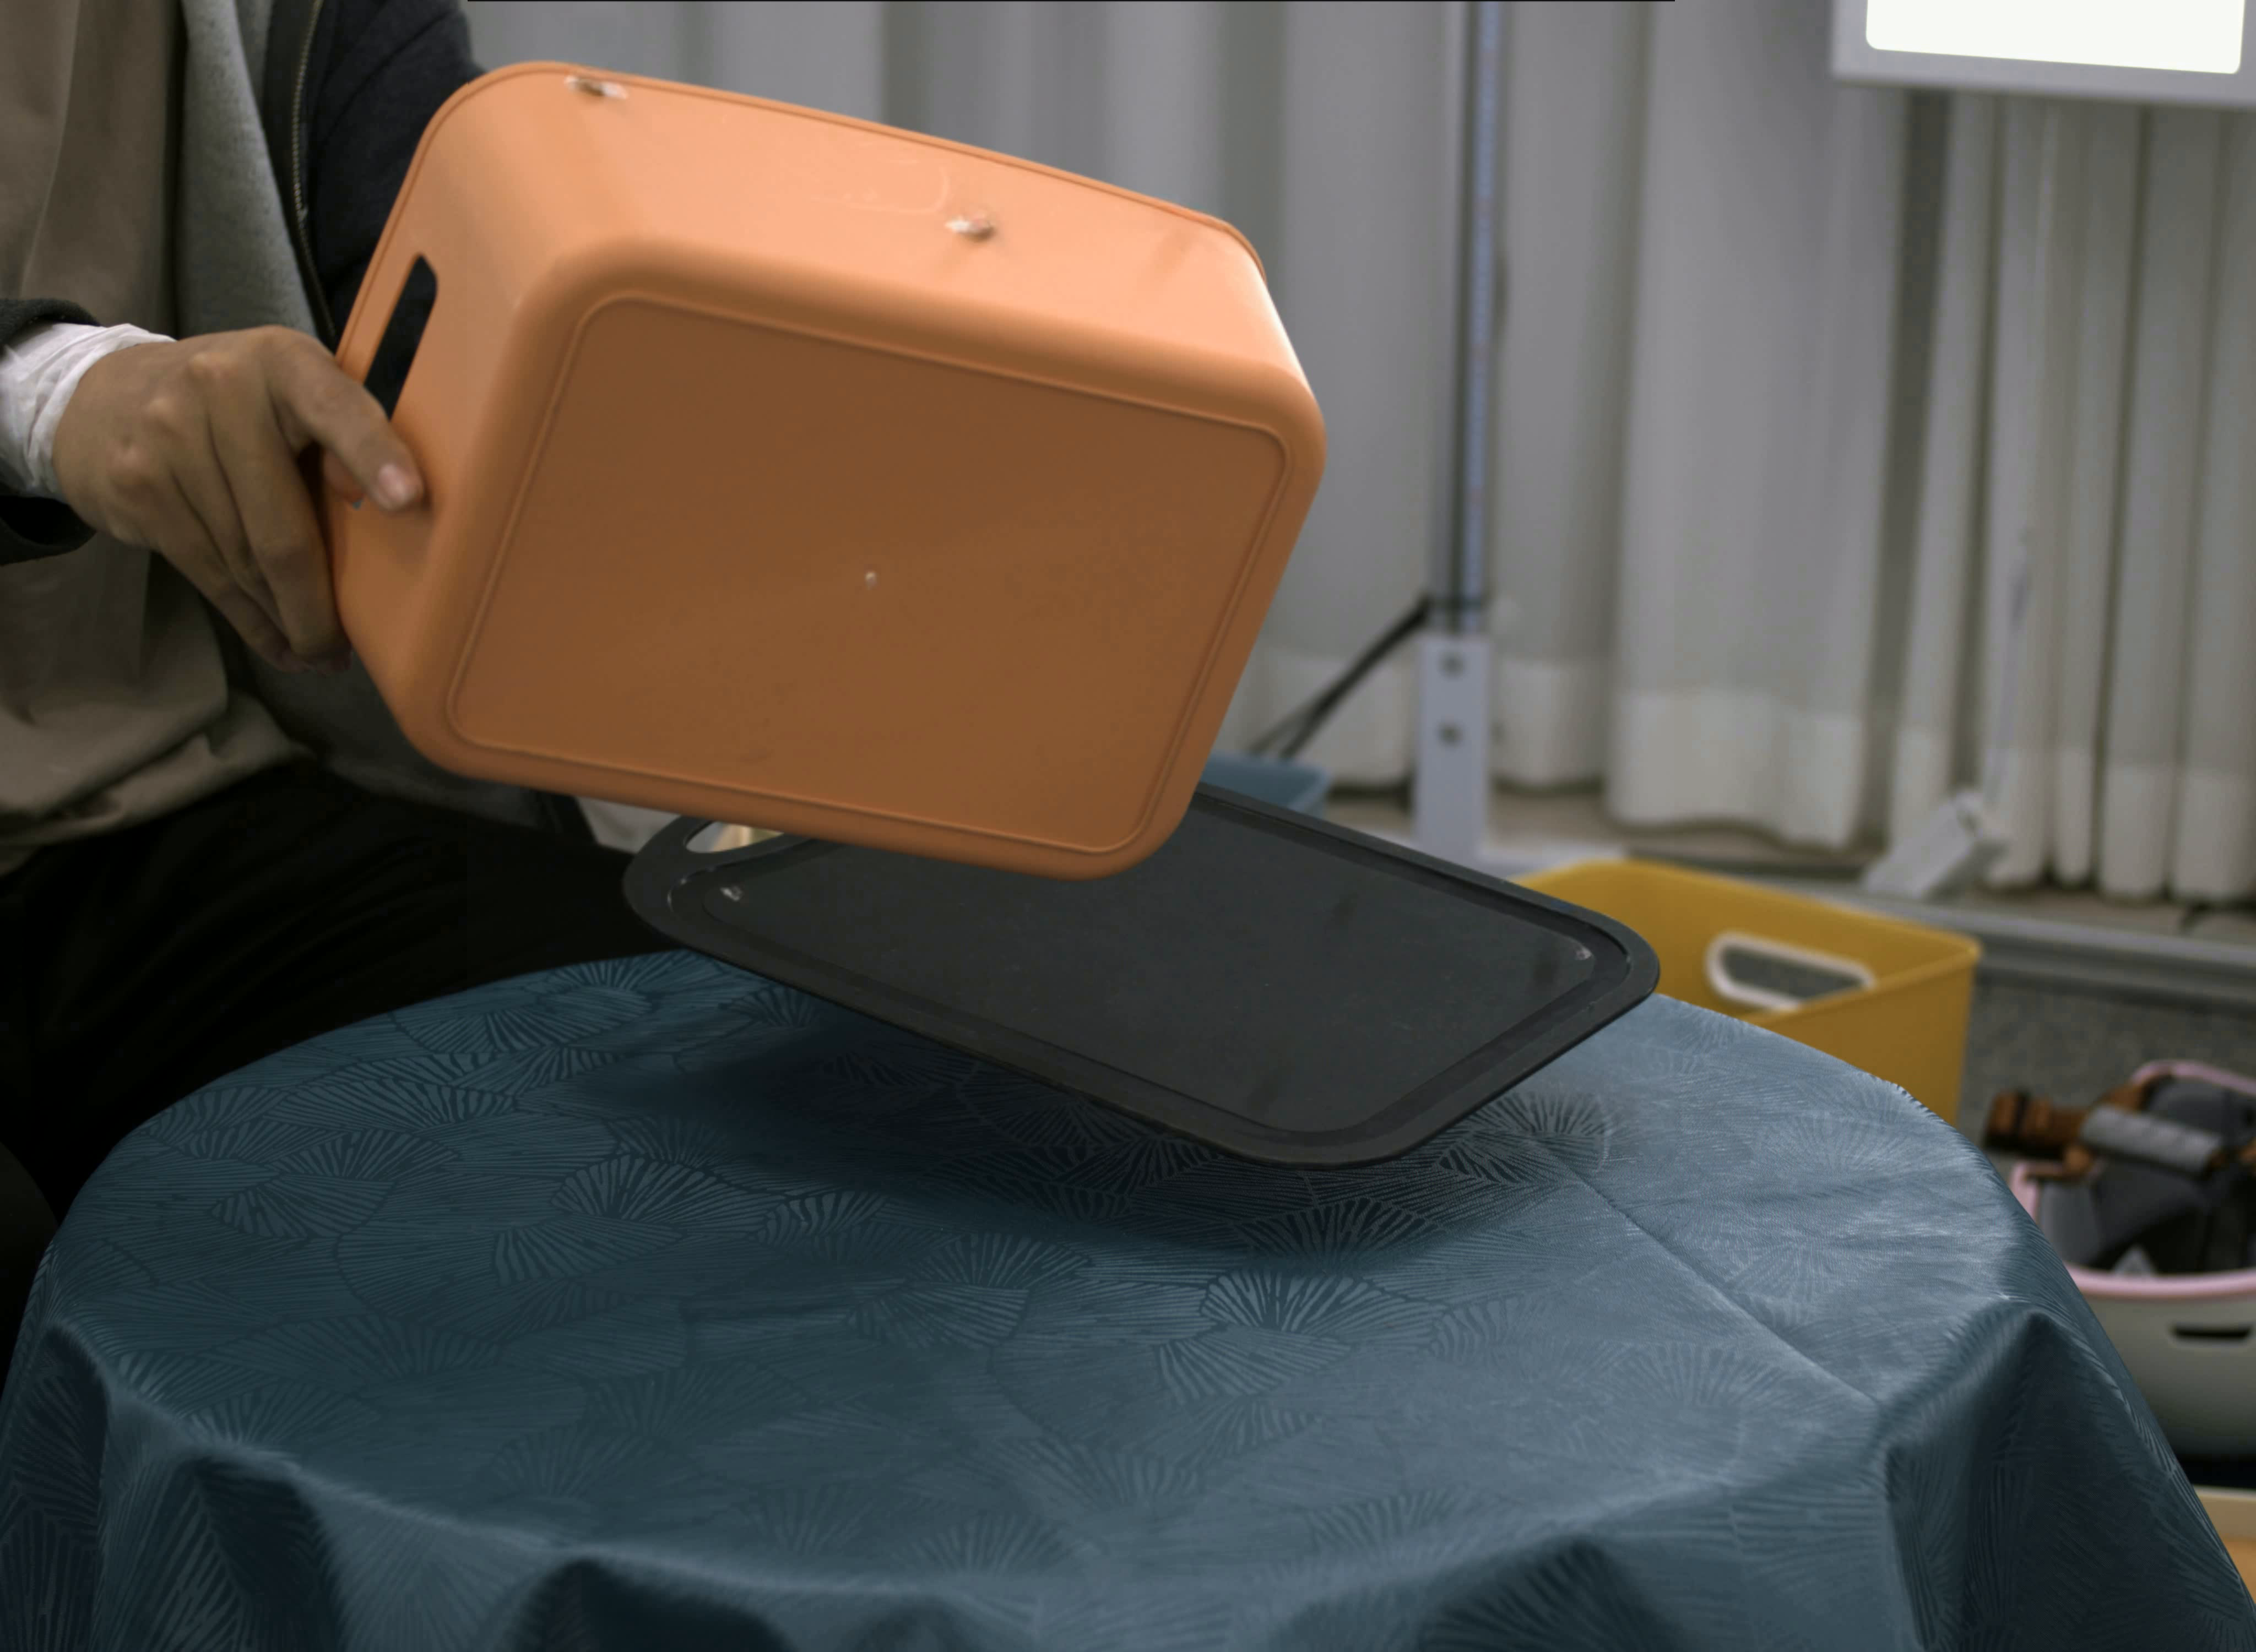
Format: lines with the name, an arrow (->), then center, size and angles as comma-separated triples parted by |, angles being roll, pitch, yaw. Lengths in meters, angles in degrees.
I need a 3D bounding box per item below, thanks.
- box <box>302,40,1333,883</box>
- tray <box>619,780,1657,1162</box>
box -> -0.085, -0.094, 1.505 | 0.275, 0.200, 0.101 | 11, 26, -26
tray -> -0.005, 0.030, 1.697 | 0.321, 0.010, 0.211 | 19, 30, 31
